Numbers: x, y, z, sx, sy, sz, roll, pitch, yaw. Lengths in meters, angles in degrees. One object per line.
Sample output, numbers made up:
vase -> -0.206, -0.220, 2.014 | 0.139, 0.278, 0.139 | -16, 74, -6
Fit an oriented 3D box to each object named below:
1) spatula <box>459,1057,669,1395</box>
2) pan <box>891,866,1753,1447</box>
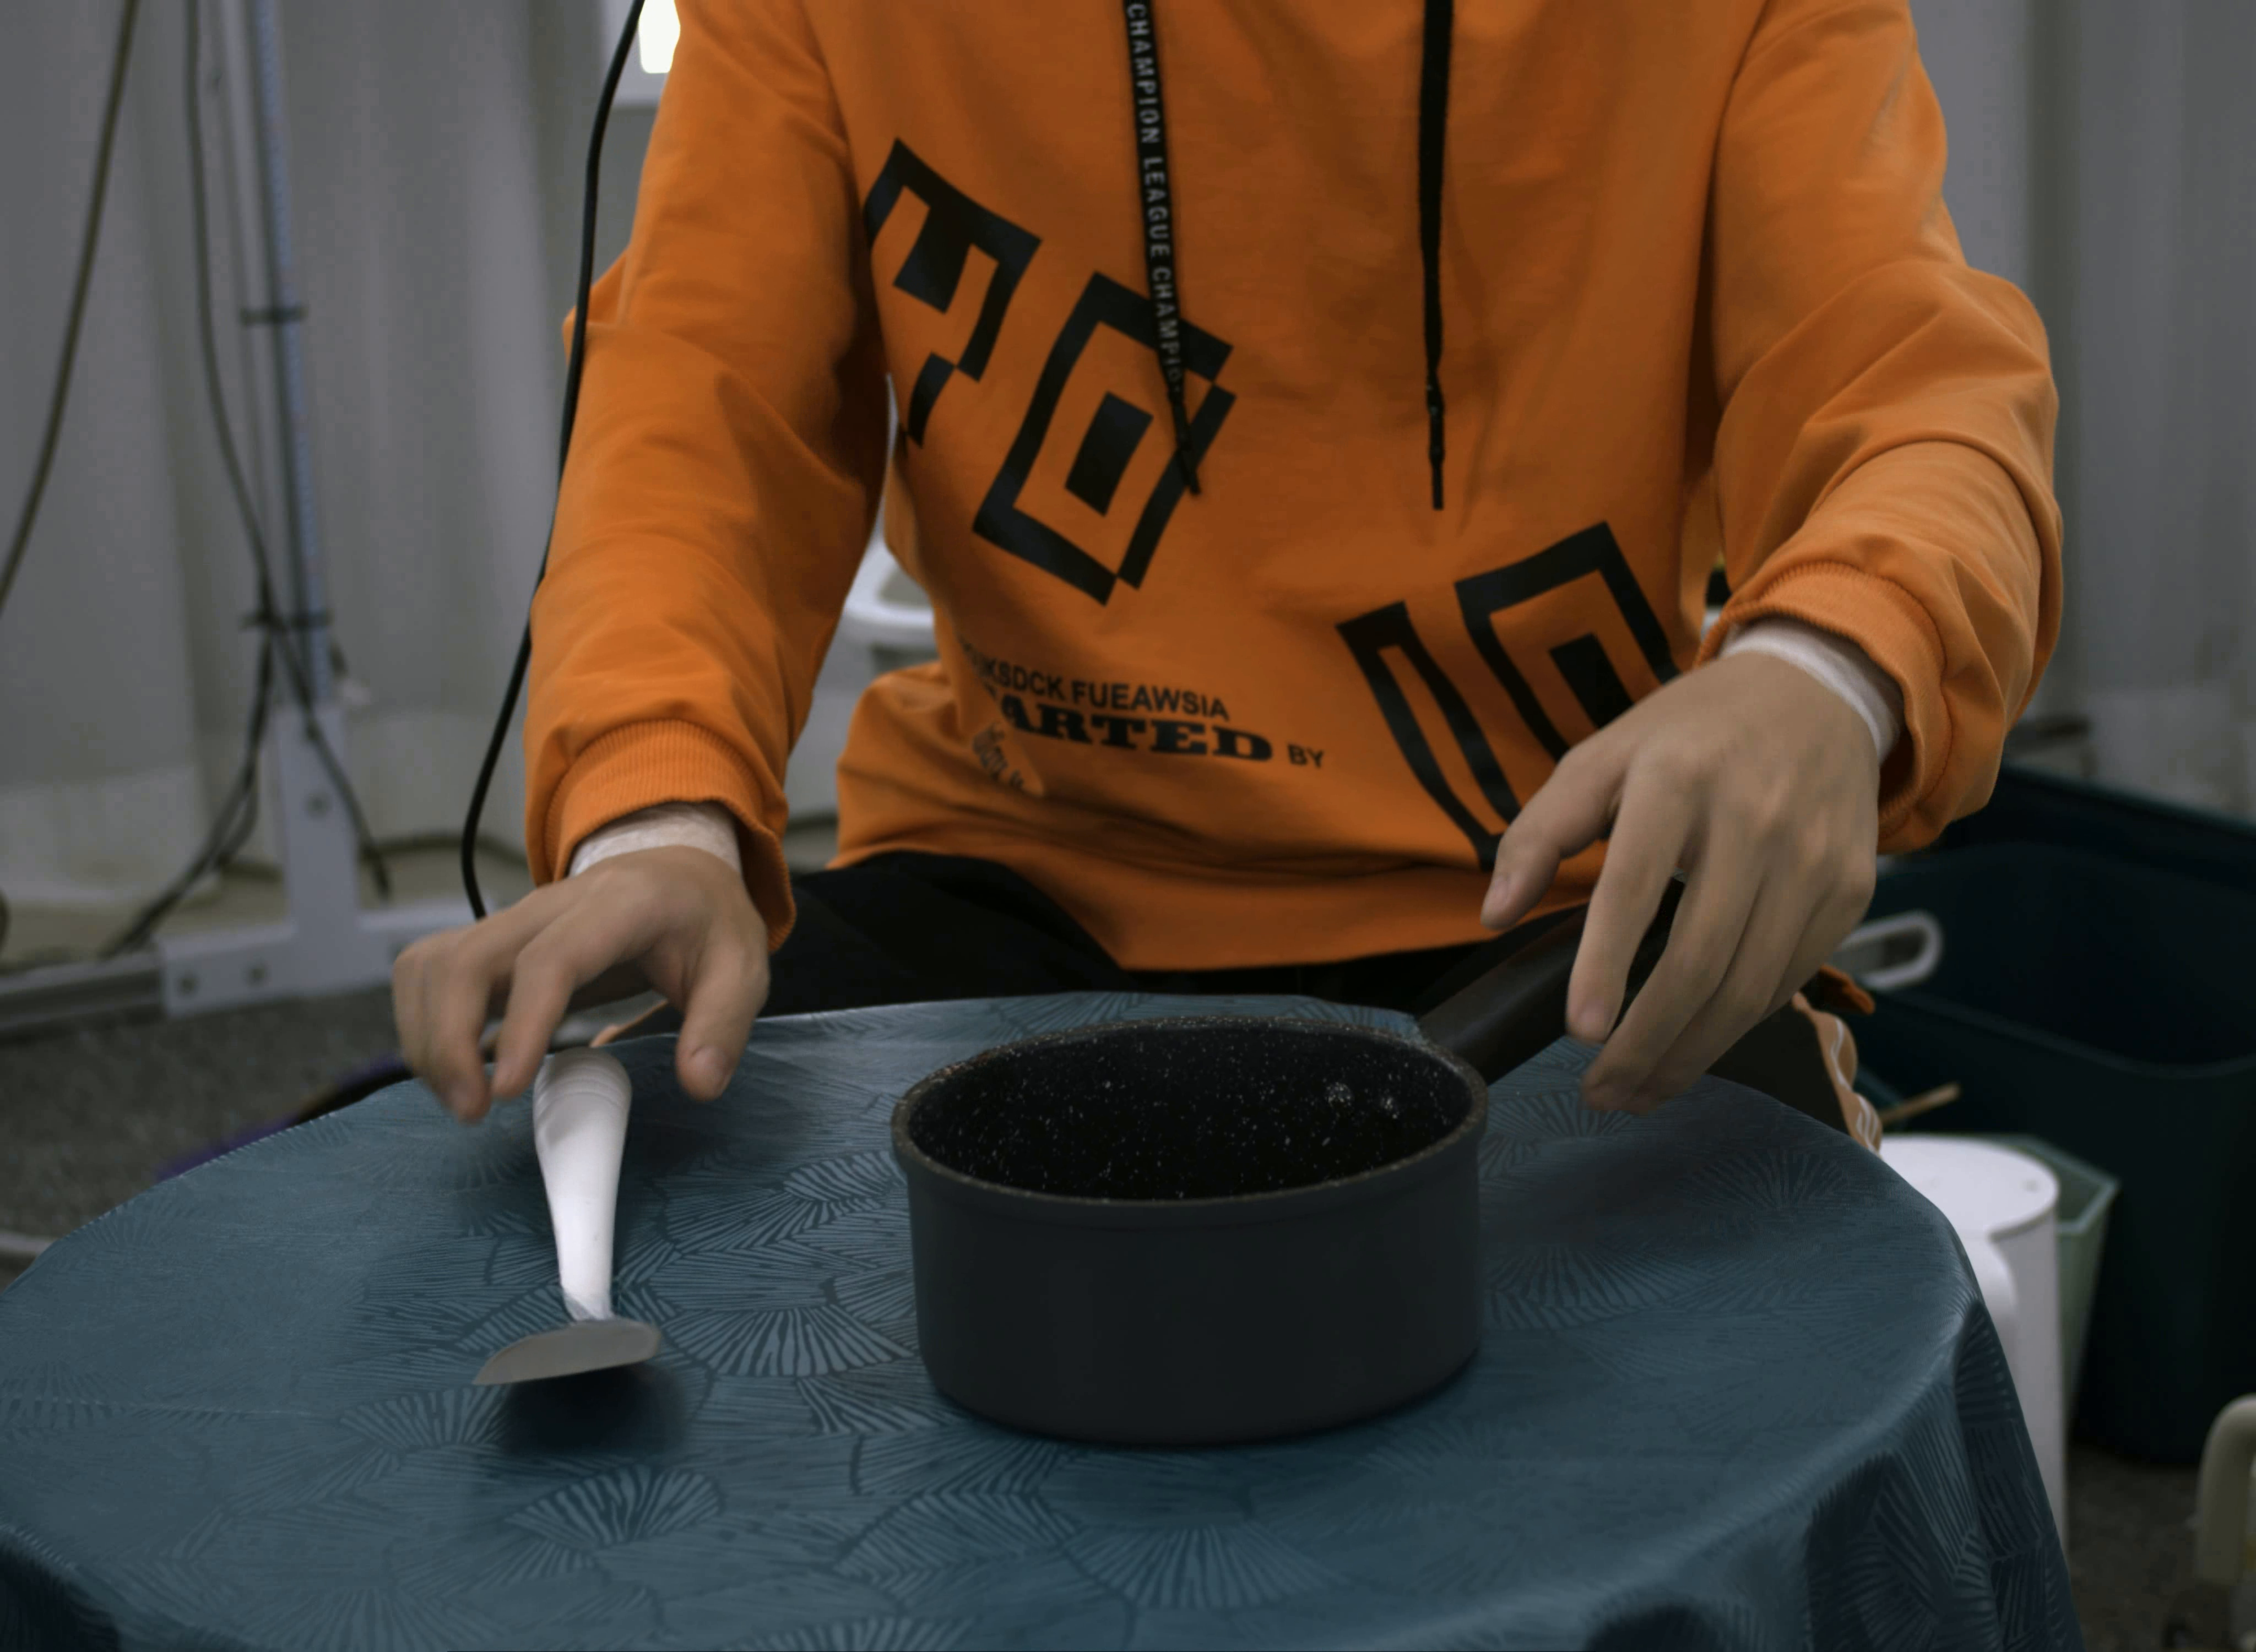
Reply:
spatula -> -0.167, 0.125, 1.647 | 0.058, 0.032, 0.289 | -6, 14, -3
pan -> 0.073, 0.094, 1.618 | 0.173, 0.086, 0.328 | 12, 23, 42
